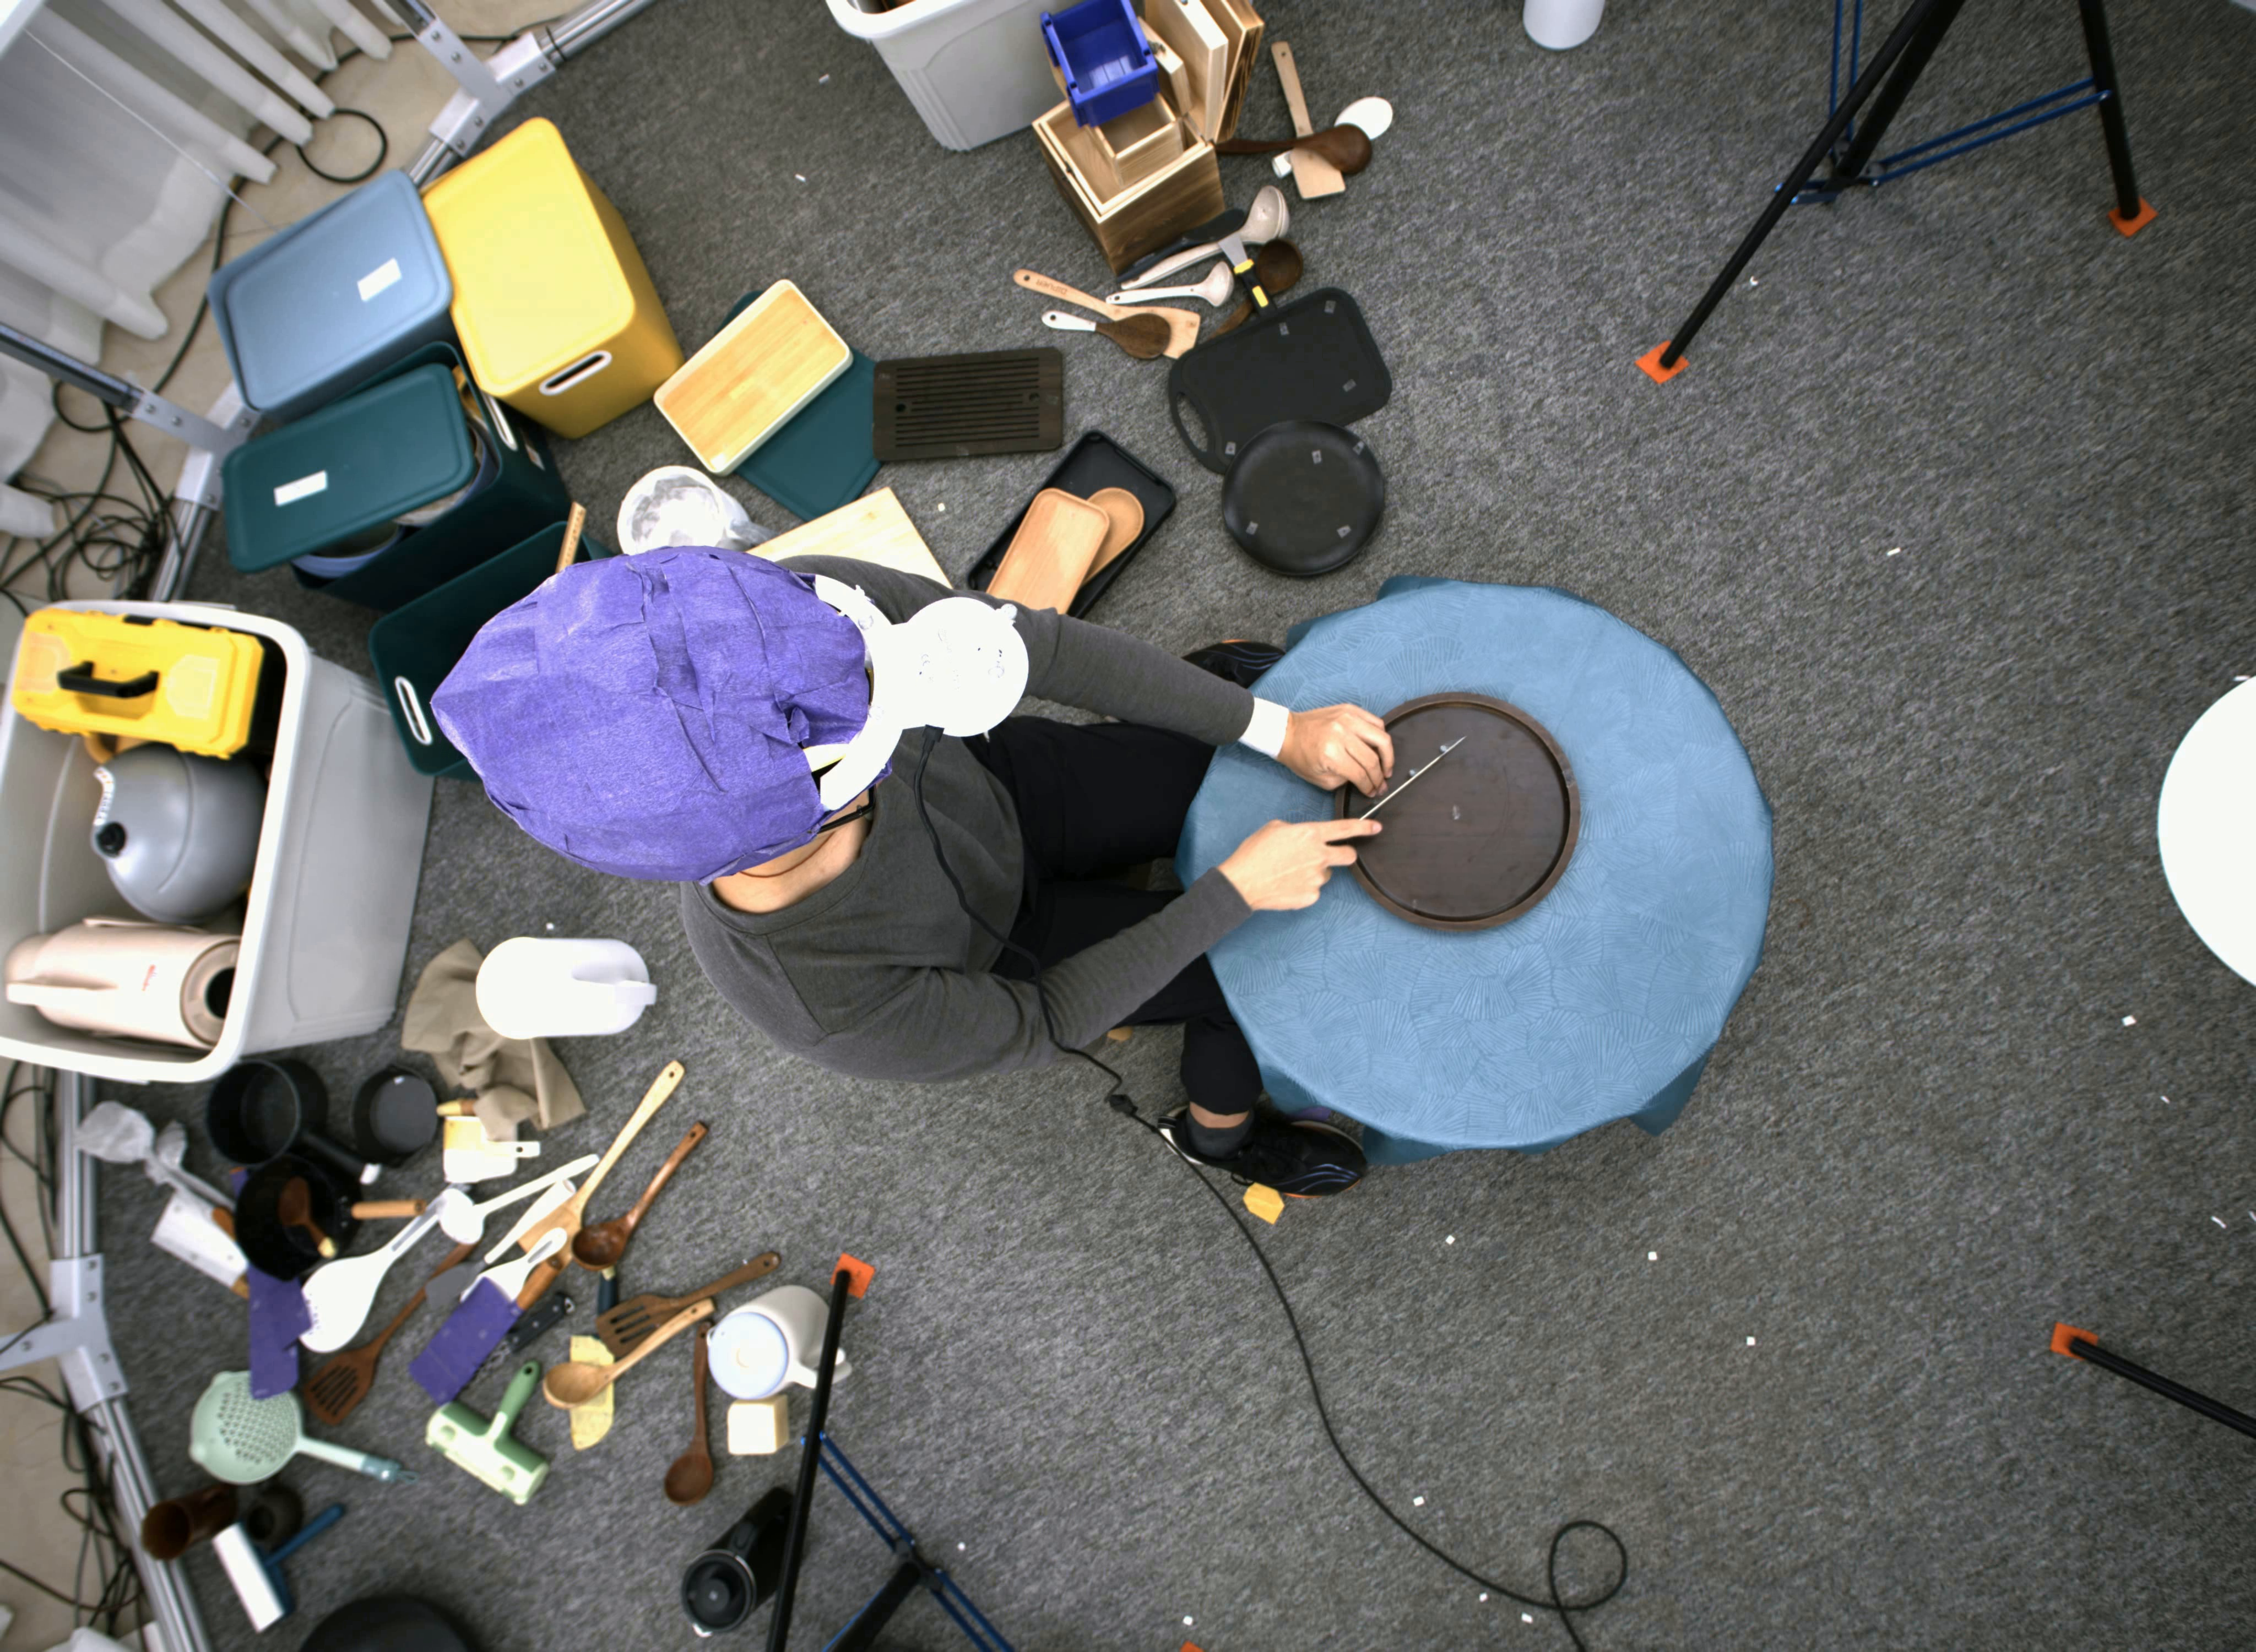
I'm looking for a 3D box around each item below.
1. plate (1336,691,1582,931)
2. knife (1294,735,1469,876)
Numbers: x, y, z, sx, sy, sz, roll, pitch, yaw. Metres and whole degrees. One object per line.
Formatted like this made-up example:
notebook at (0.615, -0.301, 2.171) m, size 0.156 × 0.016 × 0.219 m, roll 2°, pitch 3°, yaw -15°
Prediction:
plate at (0.344, -0.018, 1.440) m, size 0.256 × 0.029 × 0.253 m, roll -1°, pitch 86°, yaw 10°
knife at (0.265, -0.027, 1.427) m, size 0.237 × 0.025 × 0.016 m, roll -38°, pitch 71°, yaw -6°
